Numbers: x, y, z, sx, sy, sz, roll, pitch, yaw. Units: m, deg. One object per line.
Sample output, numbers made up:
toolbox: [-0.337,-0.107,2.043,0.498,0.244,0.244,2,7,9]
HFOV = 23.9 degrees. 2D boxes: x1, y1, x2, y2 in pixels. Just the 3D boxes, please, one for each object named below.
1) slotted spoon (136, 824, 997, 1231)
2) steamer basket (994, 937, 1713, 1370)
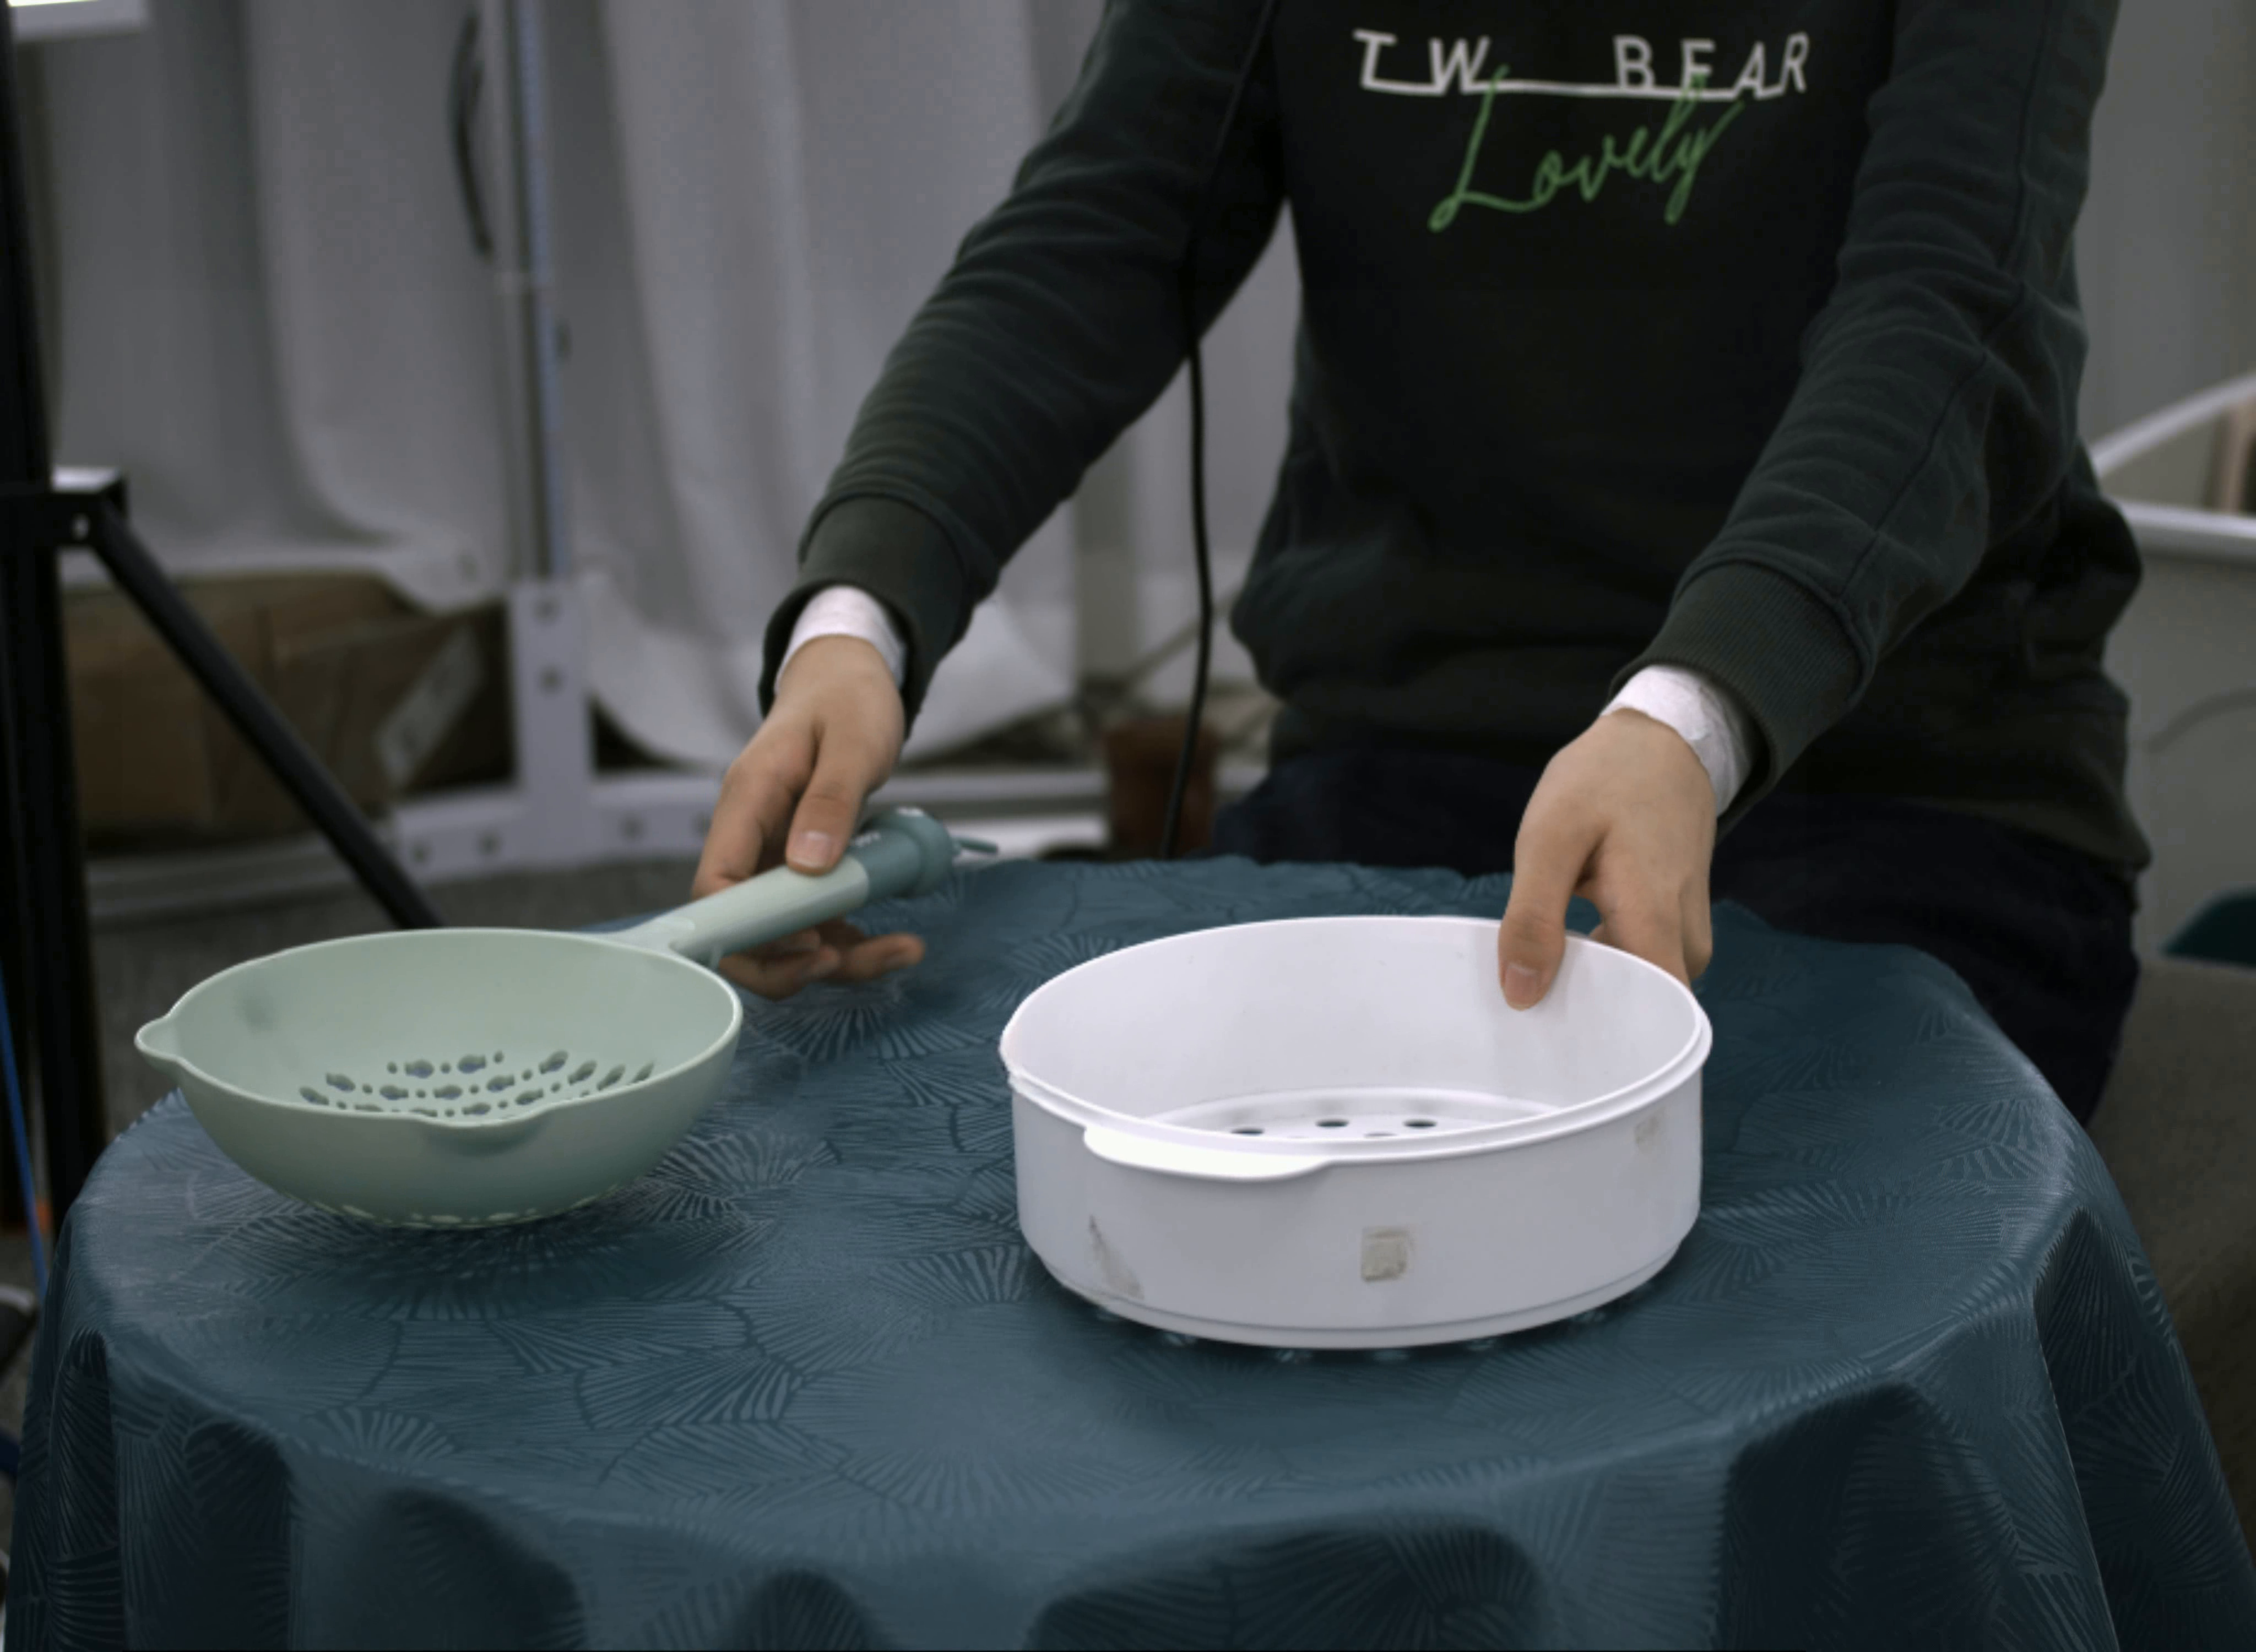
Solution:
slotted spoon: [-0.145,0.046,1.647,0.172,0.075,0.353,11,27,31]
steamer basket: [0.063,0.092,1.492,0.205,0.069,0.227,8,18,26]
